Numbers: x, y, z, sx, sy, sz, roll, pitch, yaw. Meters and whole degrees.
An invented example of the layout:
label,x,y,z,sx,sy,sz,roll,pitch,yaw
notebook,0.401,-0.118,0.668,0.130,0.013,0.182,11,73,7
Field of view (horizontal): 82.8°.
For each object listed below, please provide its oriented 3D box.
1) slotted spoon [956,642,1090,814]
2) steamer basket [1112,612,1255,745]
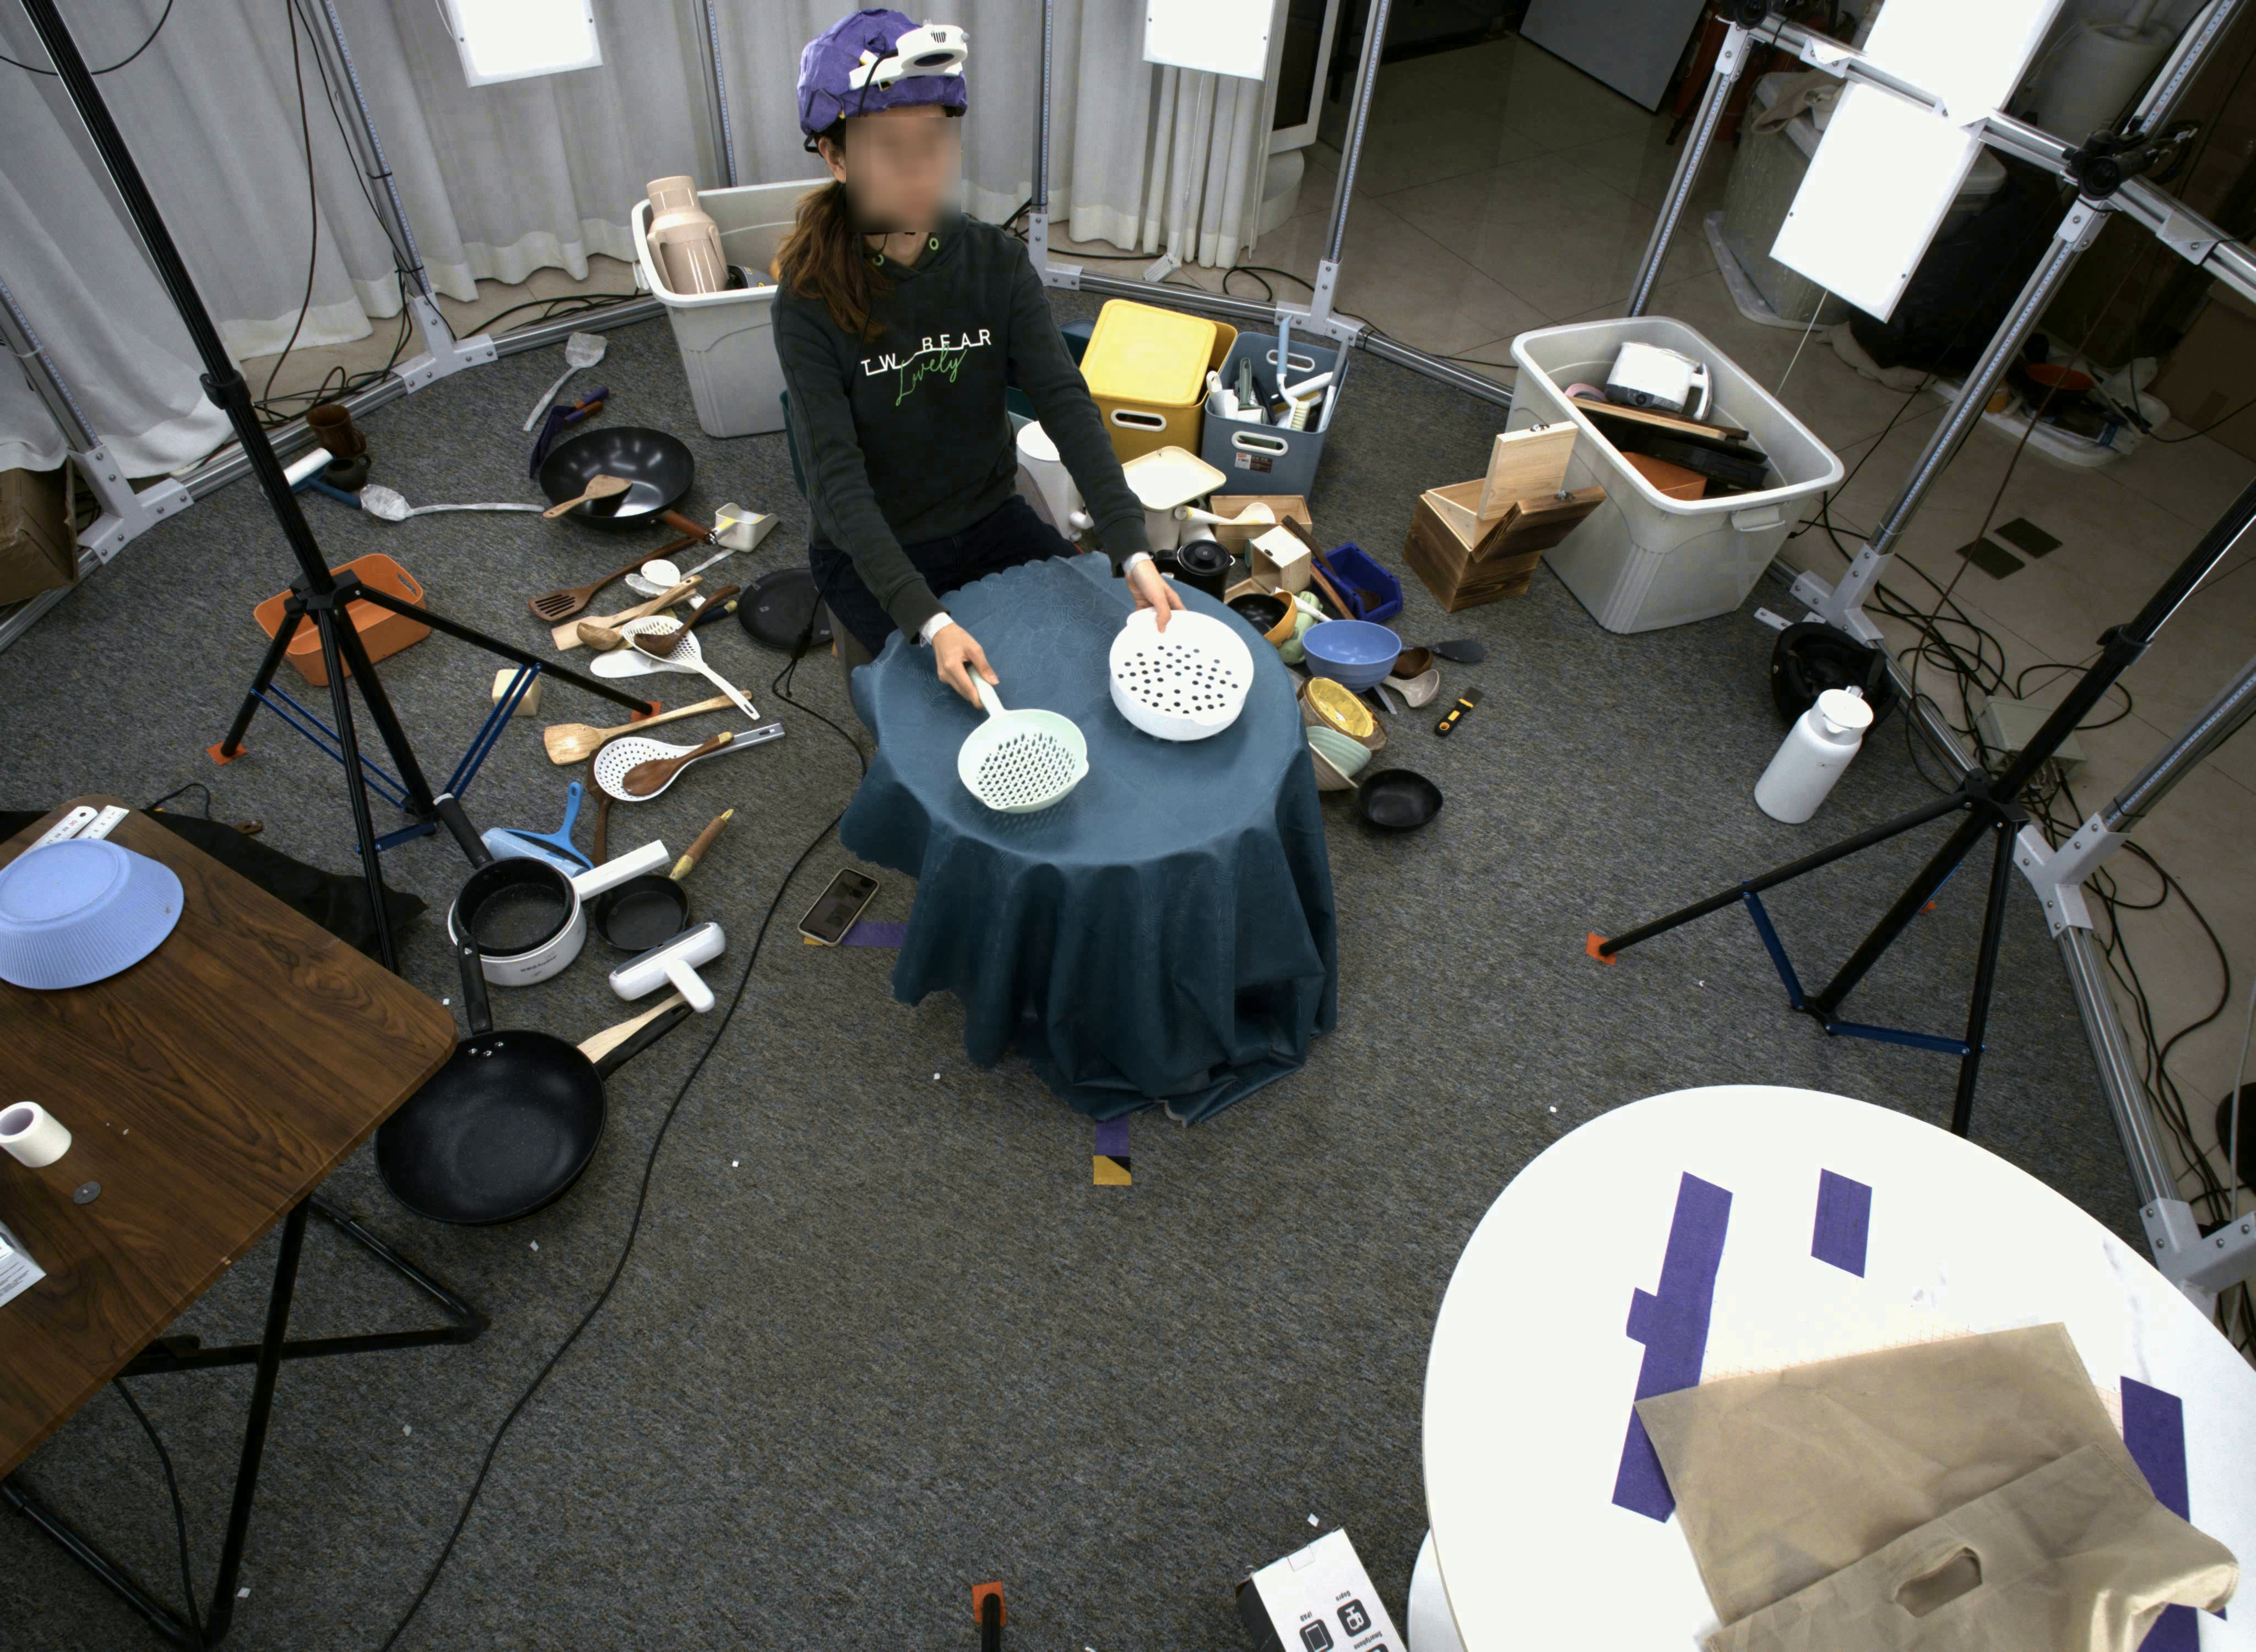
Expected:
label,x,y,z,sx,sy,sz,roll,pitch,yaw
slotted spoon,-0.174,-0.149,1.748,0.169,0.073,0.367,-21,56,-11
steamer basket,0.076,-0.205,1.817,0.202,0.067,0.235,-20,56,-20
